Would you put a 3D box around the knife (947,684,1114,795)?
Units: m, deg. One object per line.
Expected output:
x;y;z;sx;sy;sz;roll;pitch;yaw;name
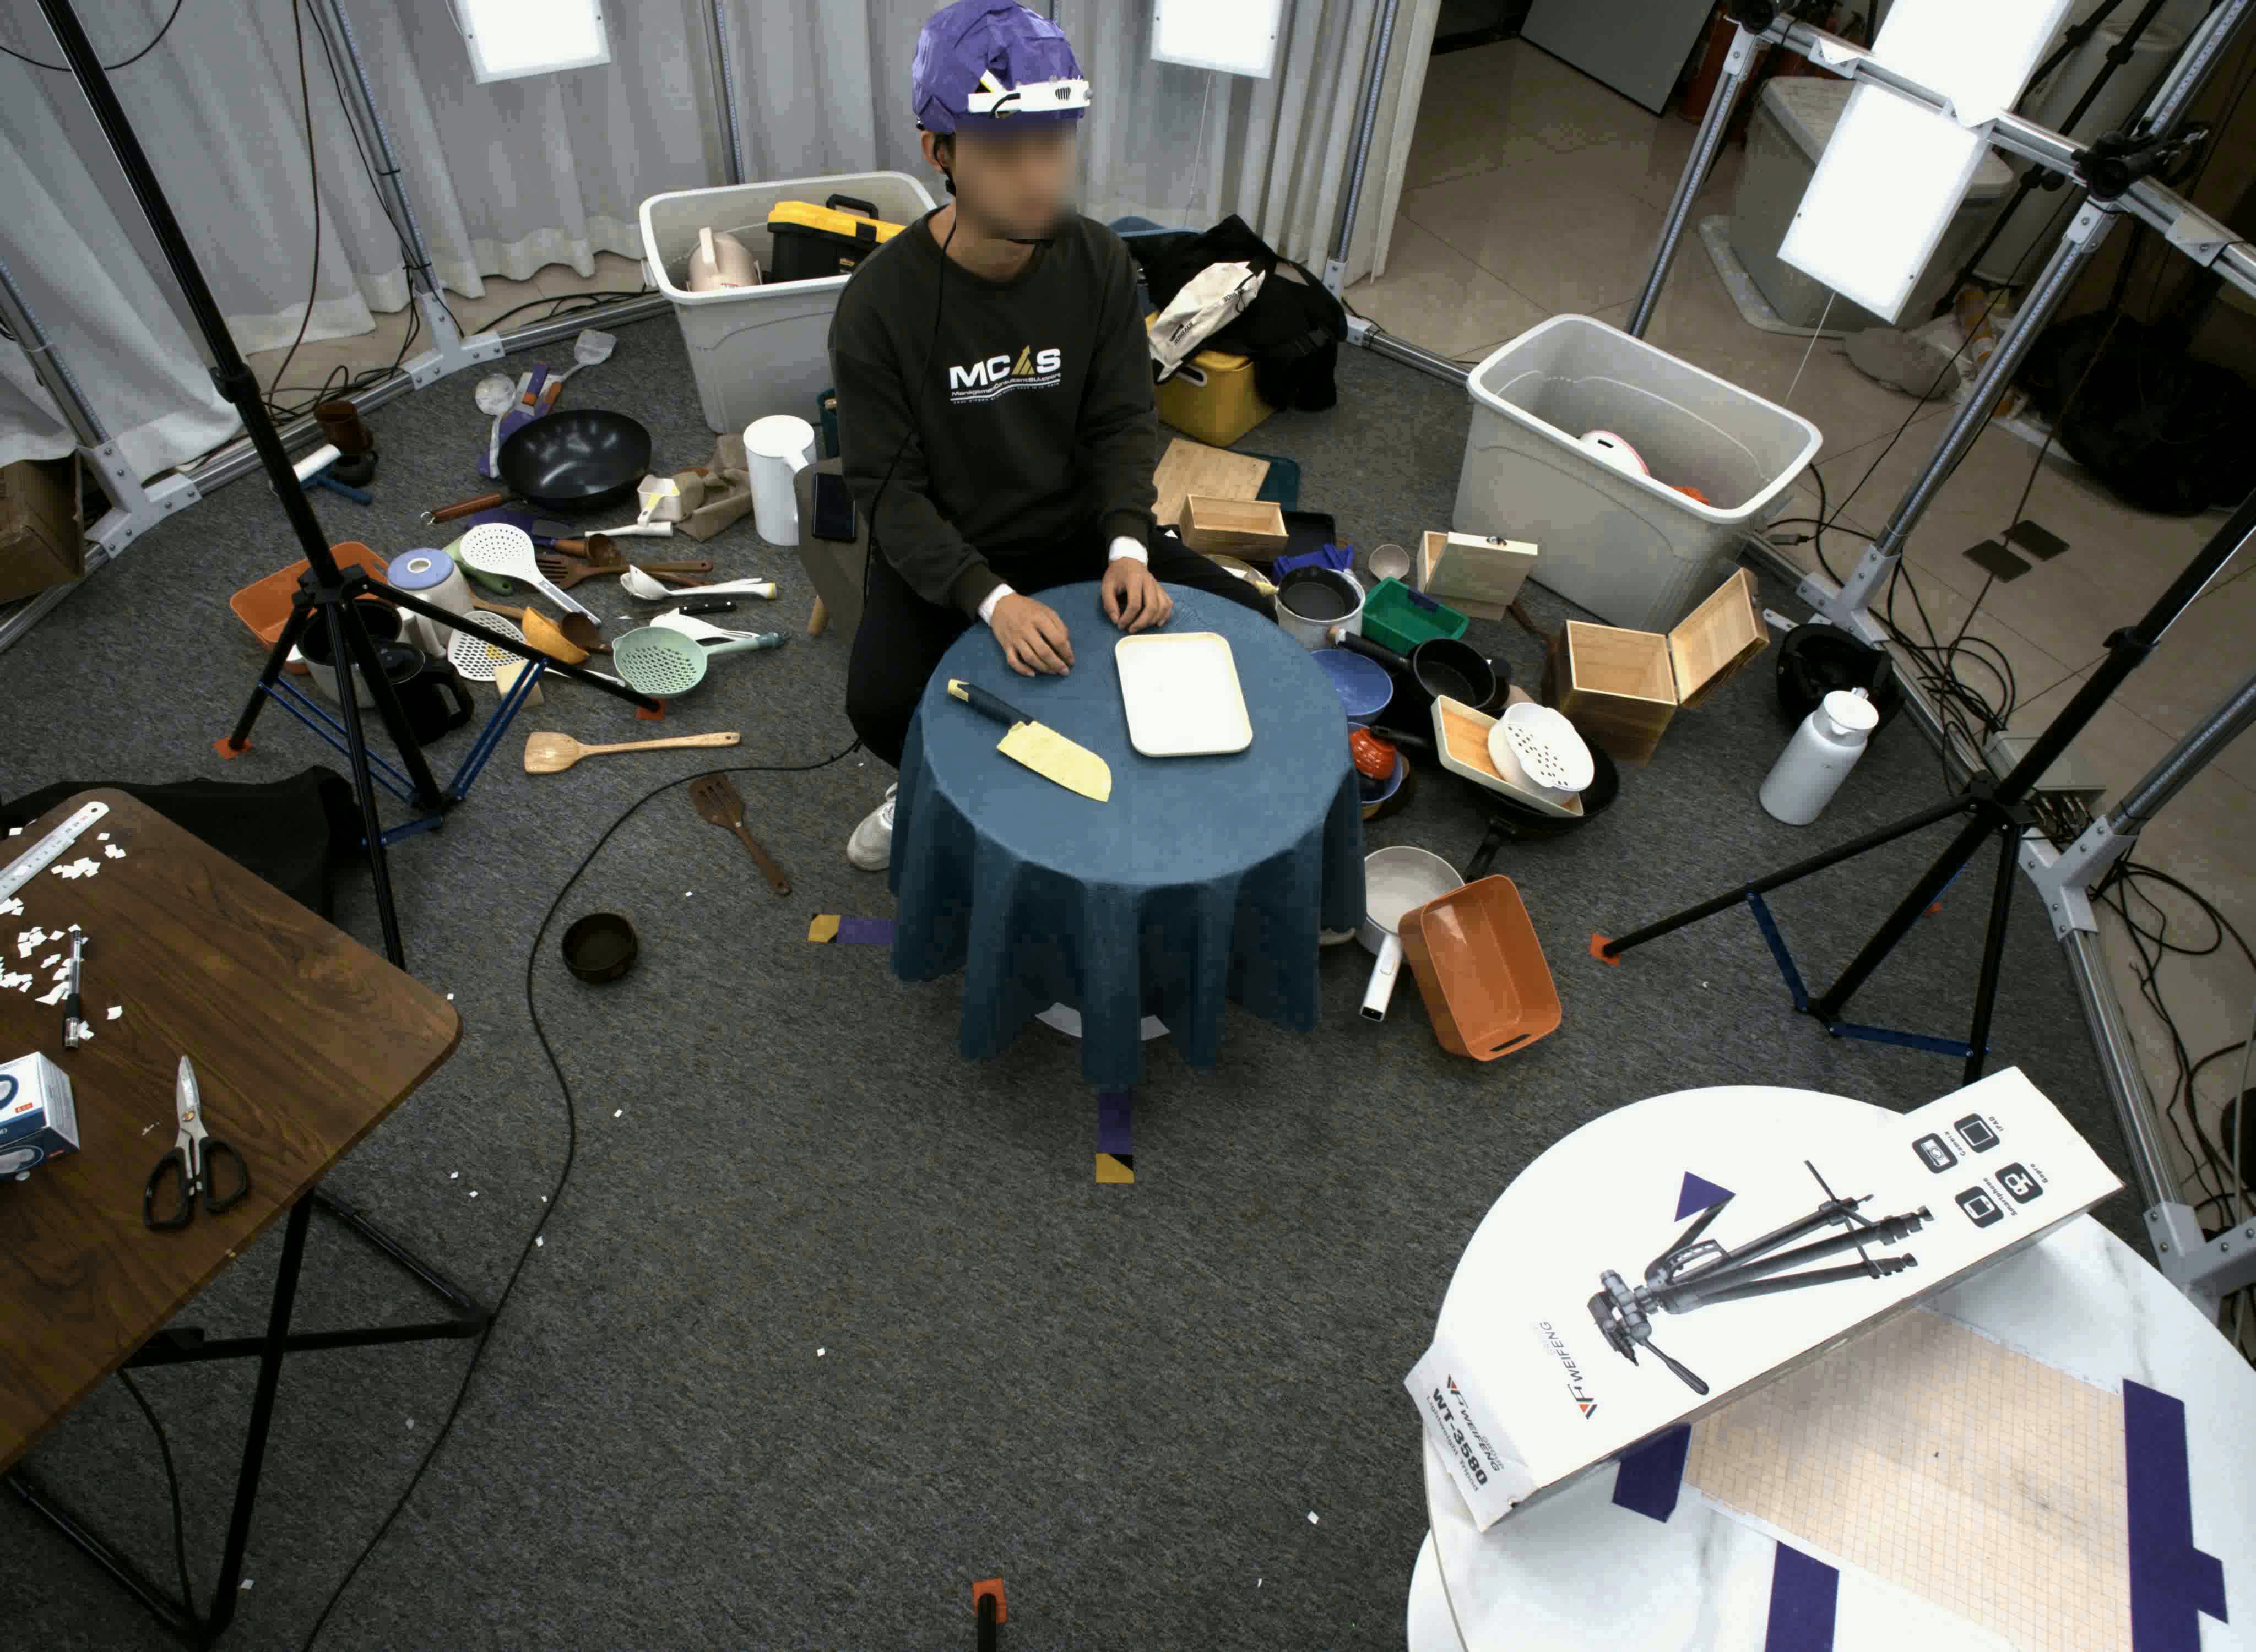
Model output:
-0.139;-0.117;1.750;0.292;0.026;0.082;31;52;20;knife

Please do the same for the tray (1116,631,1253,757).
0.077;-0.189;1.825;0.171;0.017;0.246;-4;49;-6;tray
